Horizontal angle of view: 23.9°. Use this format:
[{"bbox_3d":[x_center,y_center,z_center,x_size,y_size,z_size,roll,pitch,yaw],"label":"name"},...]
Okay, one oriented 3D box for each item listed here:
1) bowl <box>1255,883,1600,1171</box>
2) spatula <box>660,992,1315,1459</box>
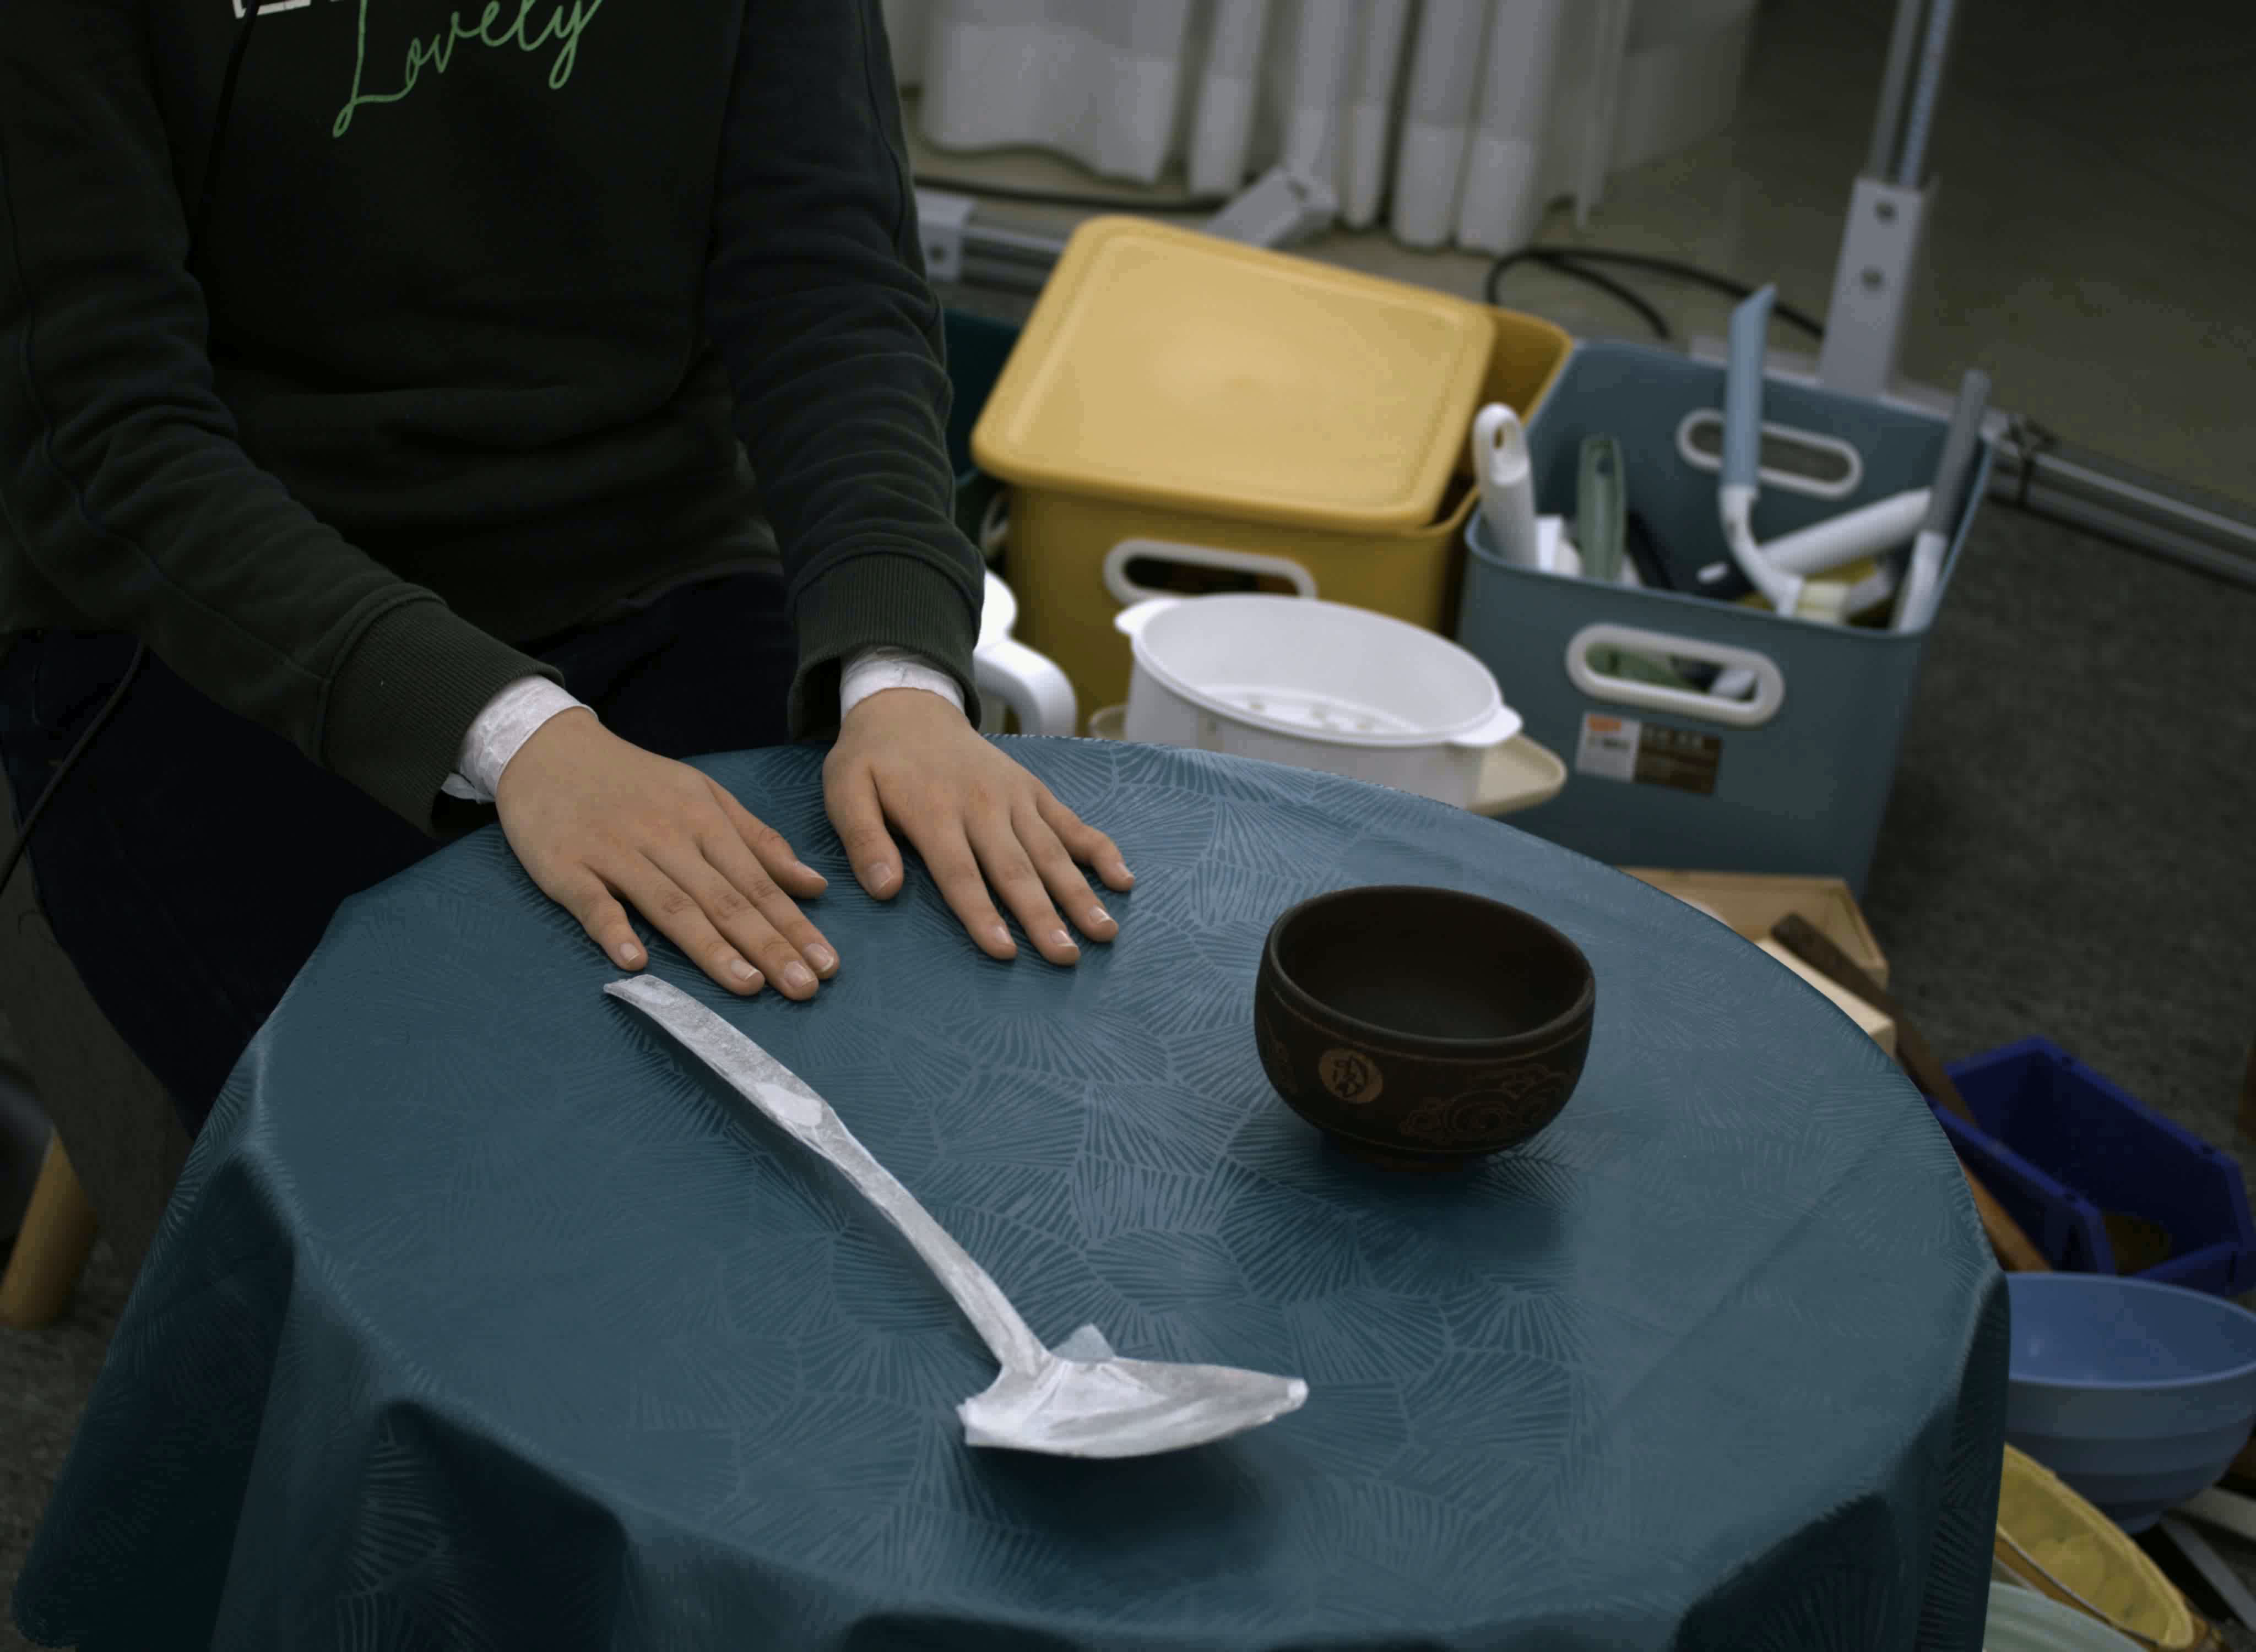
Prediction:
[{"bbox_3d":[0.101,0.076,1.839,0.117,0.069,0.119,6,25,-3],"label":"bowl"},{"bbox_3d":[-0.070,0.122,1.744,0.098,0.044,0.368,-12,32,-29],"label":"spatula"}]
